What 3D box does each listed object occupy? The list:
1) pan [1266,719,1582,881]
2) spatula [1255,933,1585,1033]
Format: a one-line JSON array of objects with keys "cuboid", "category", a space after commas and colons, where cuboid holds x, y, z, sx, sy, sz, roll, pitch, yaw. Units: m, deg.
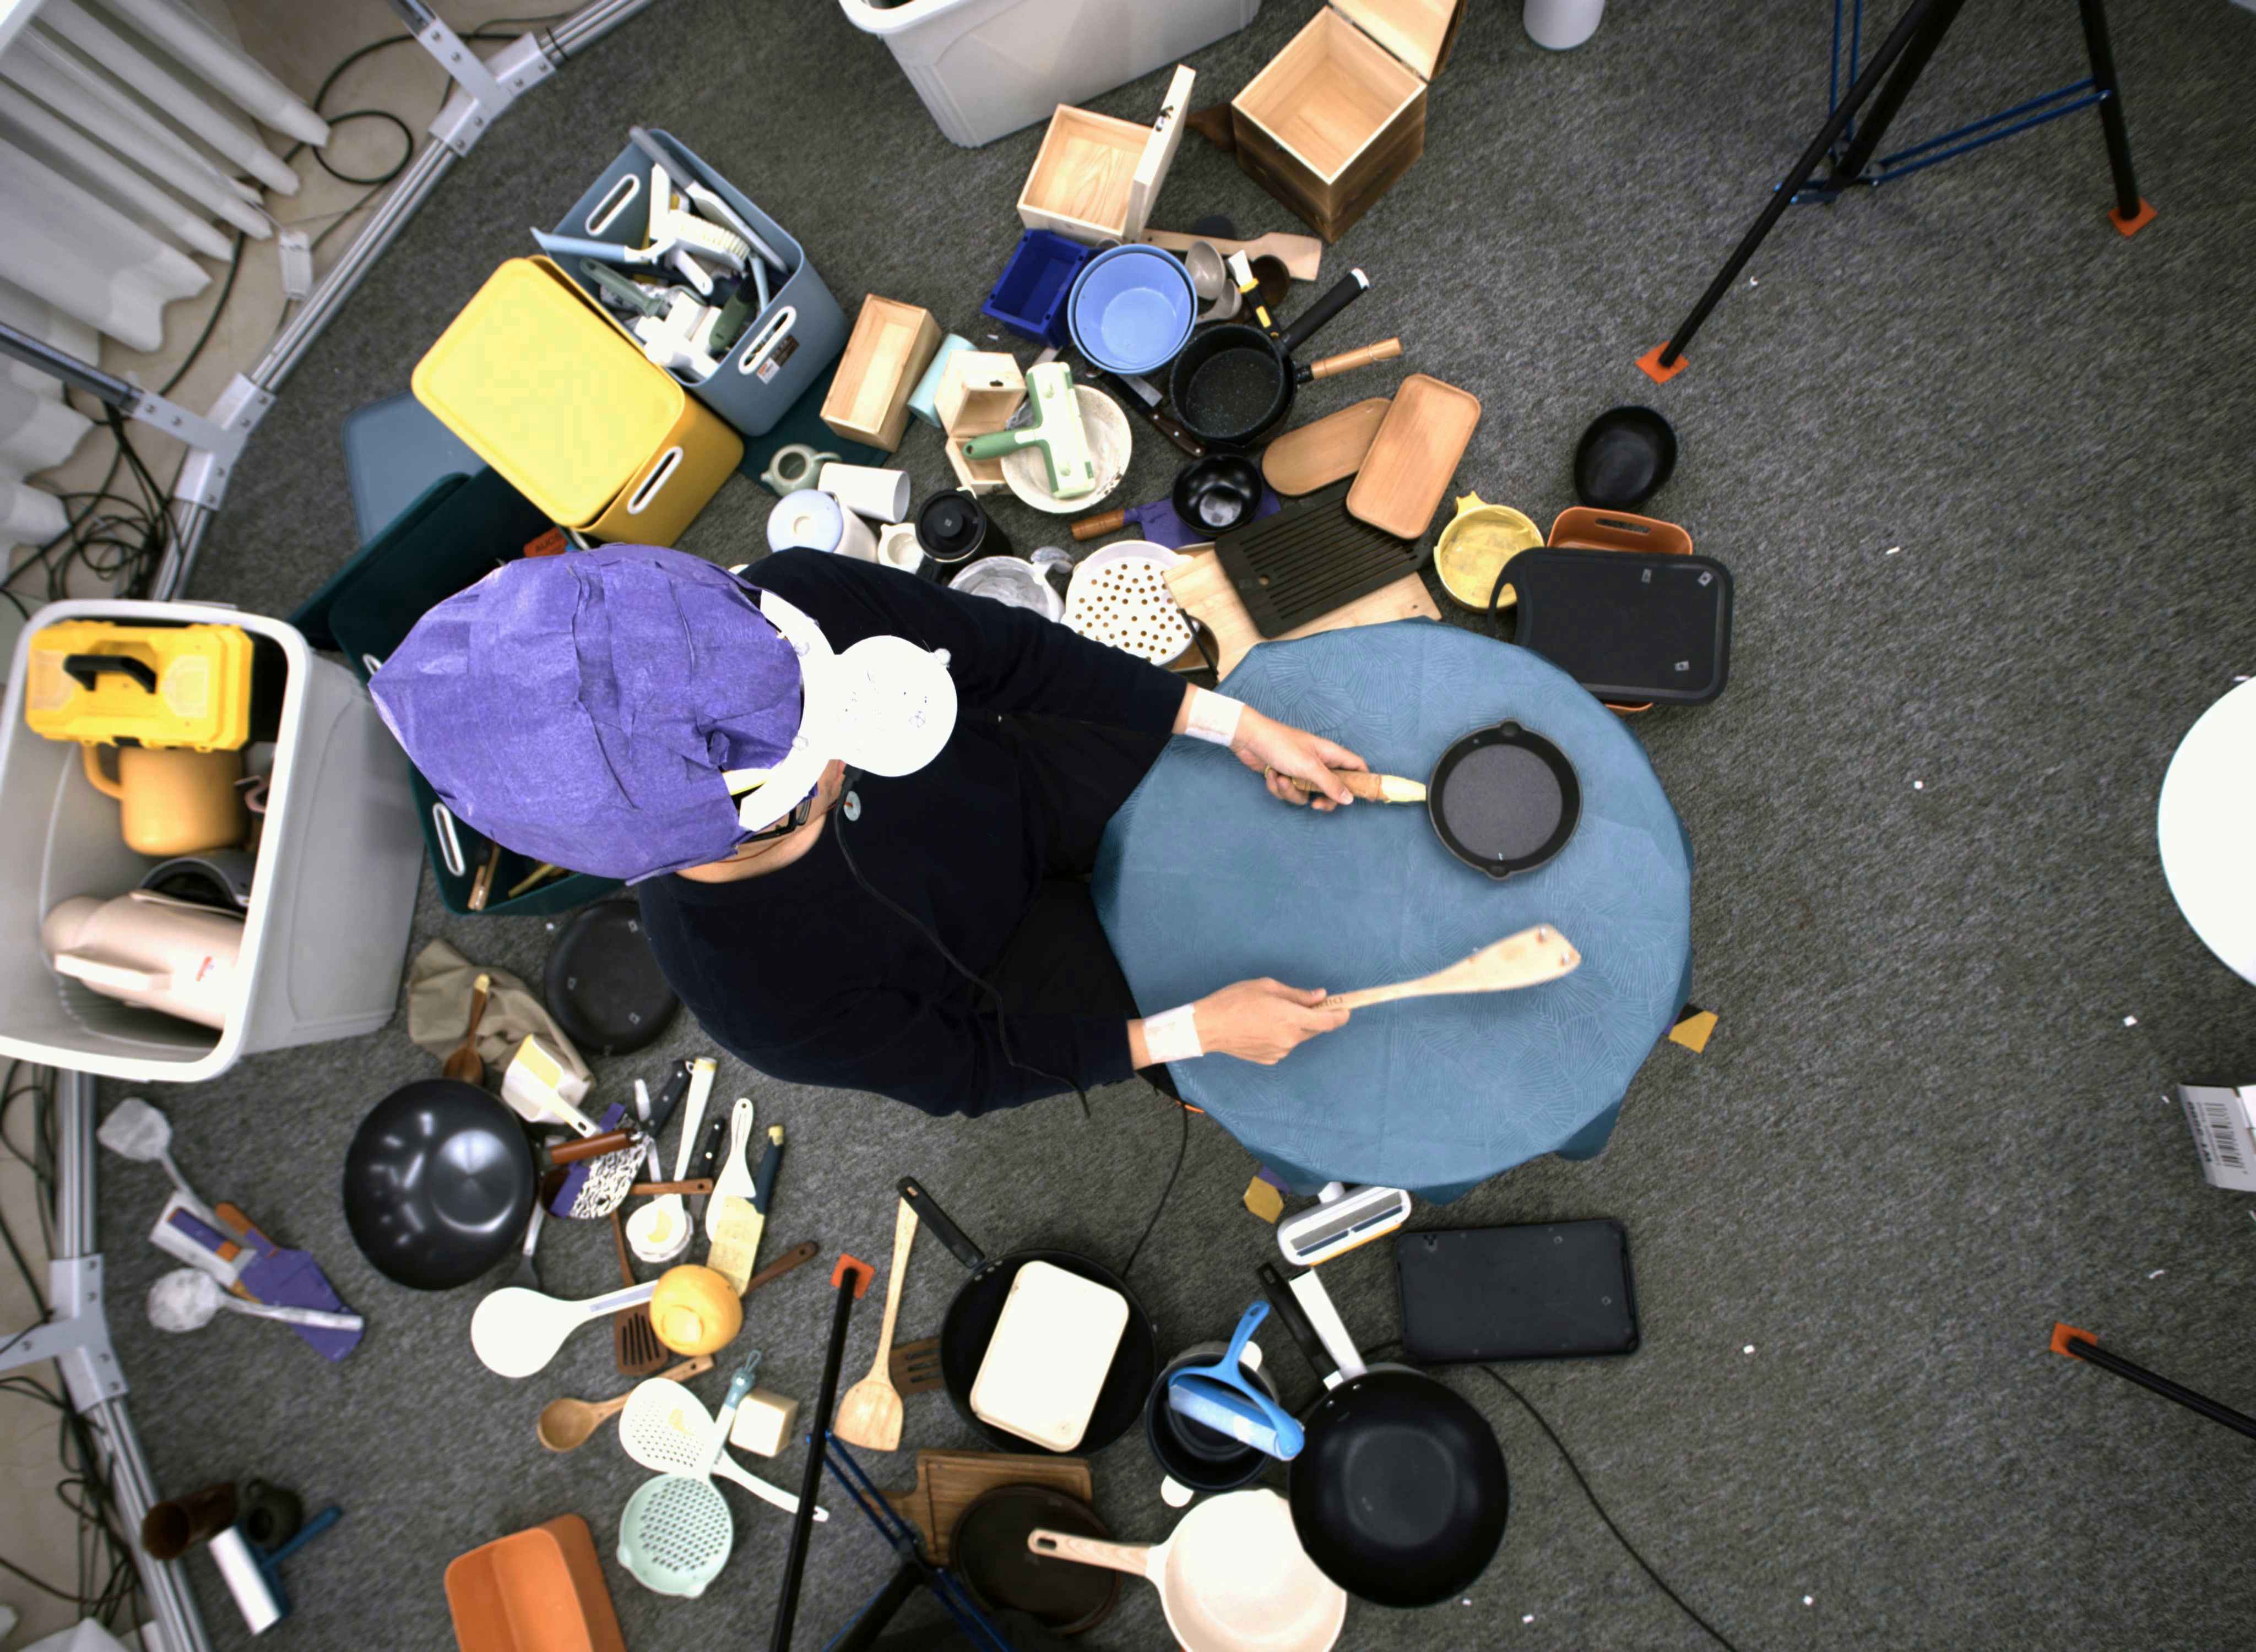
[{"cuboid": [0.306, -0.040, 1.434, 0.325, 0.049, 0.168, 8, 88, 9], "category": "pan"}, {"cuboid": [0.286, 0.162, 1.385, 0.329, 0.078, 0.017, -13, 119, 7], "category": "spatula"}]
